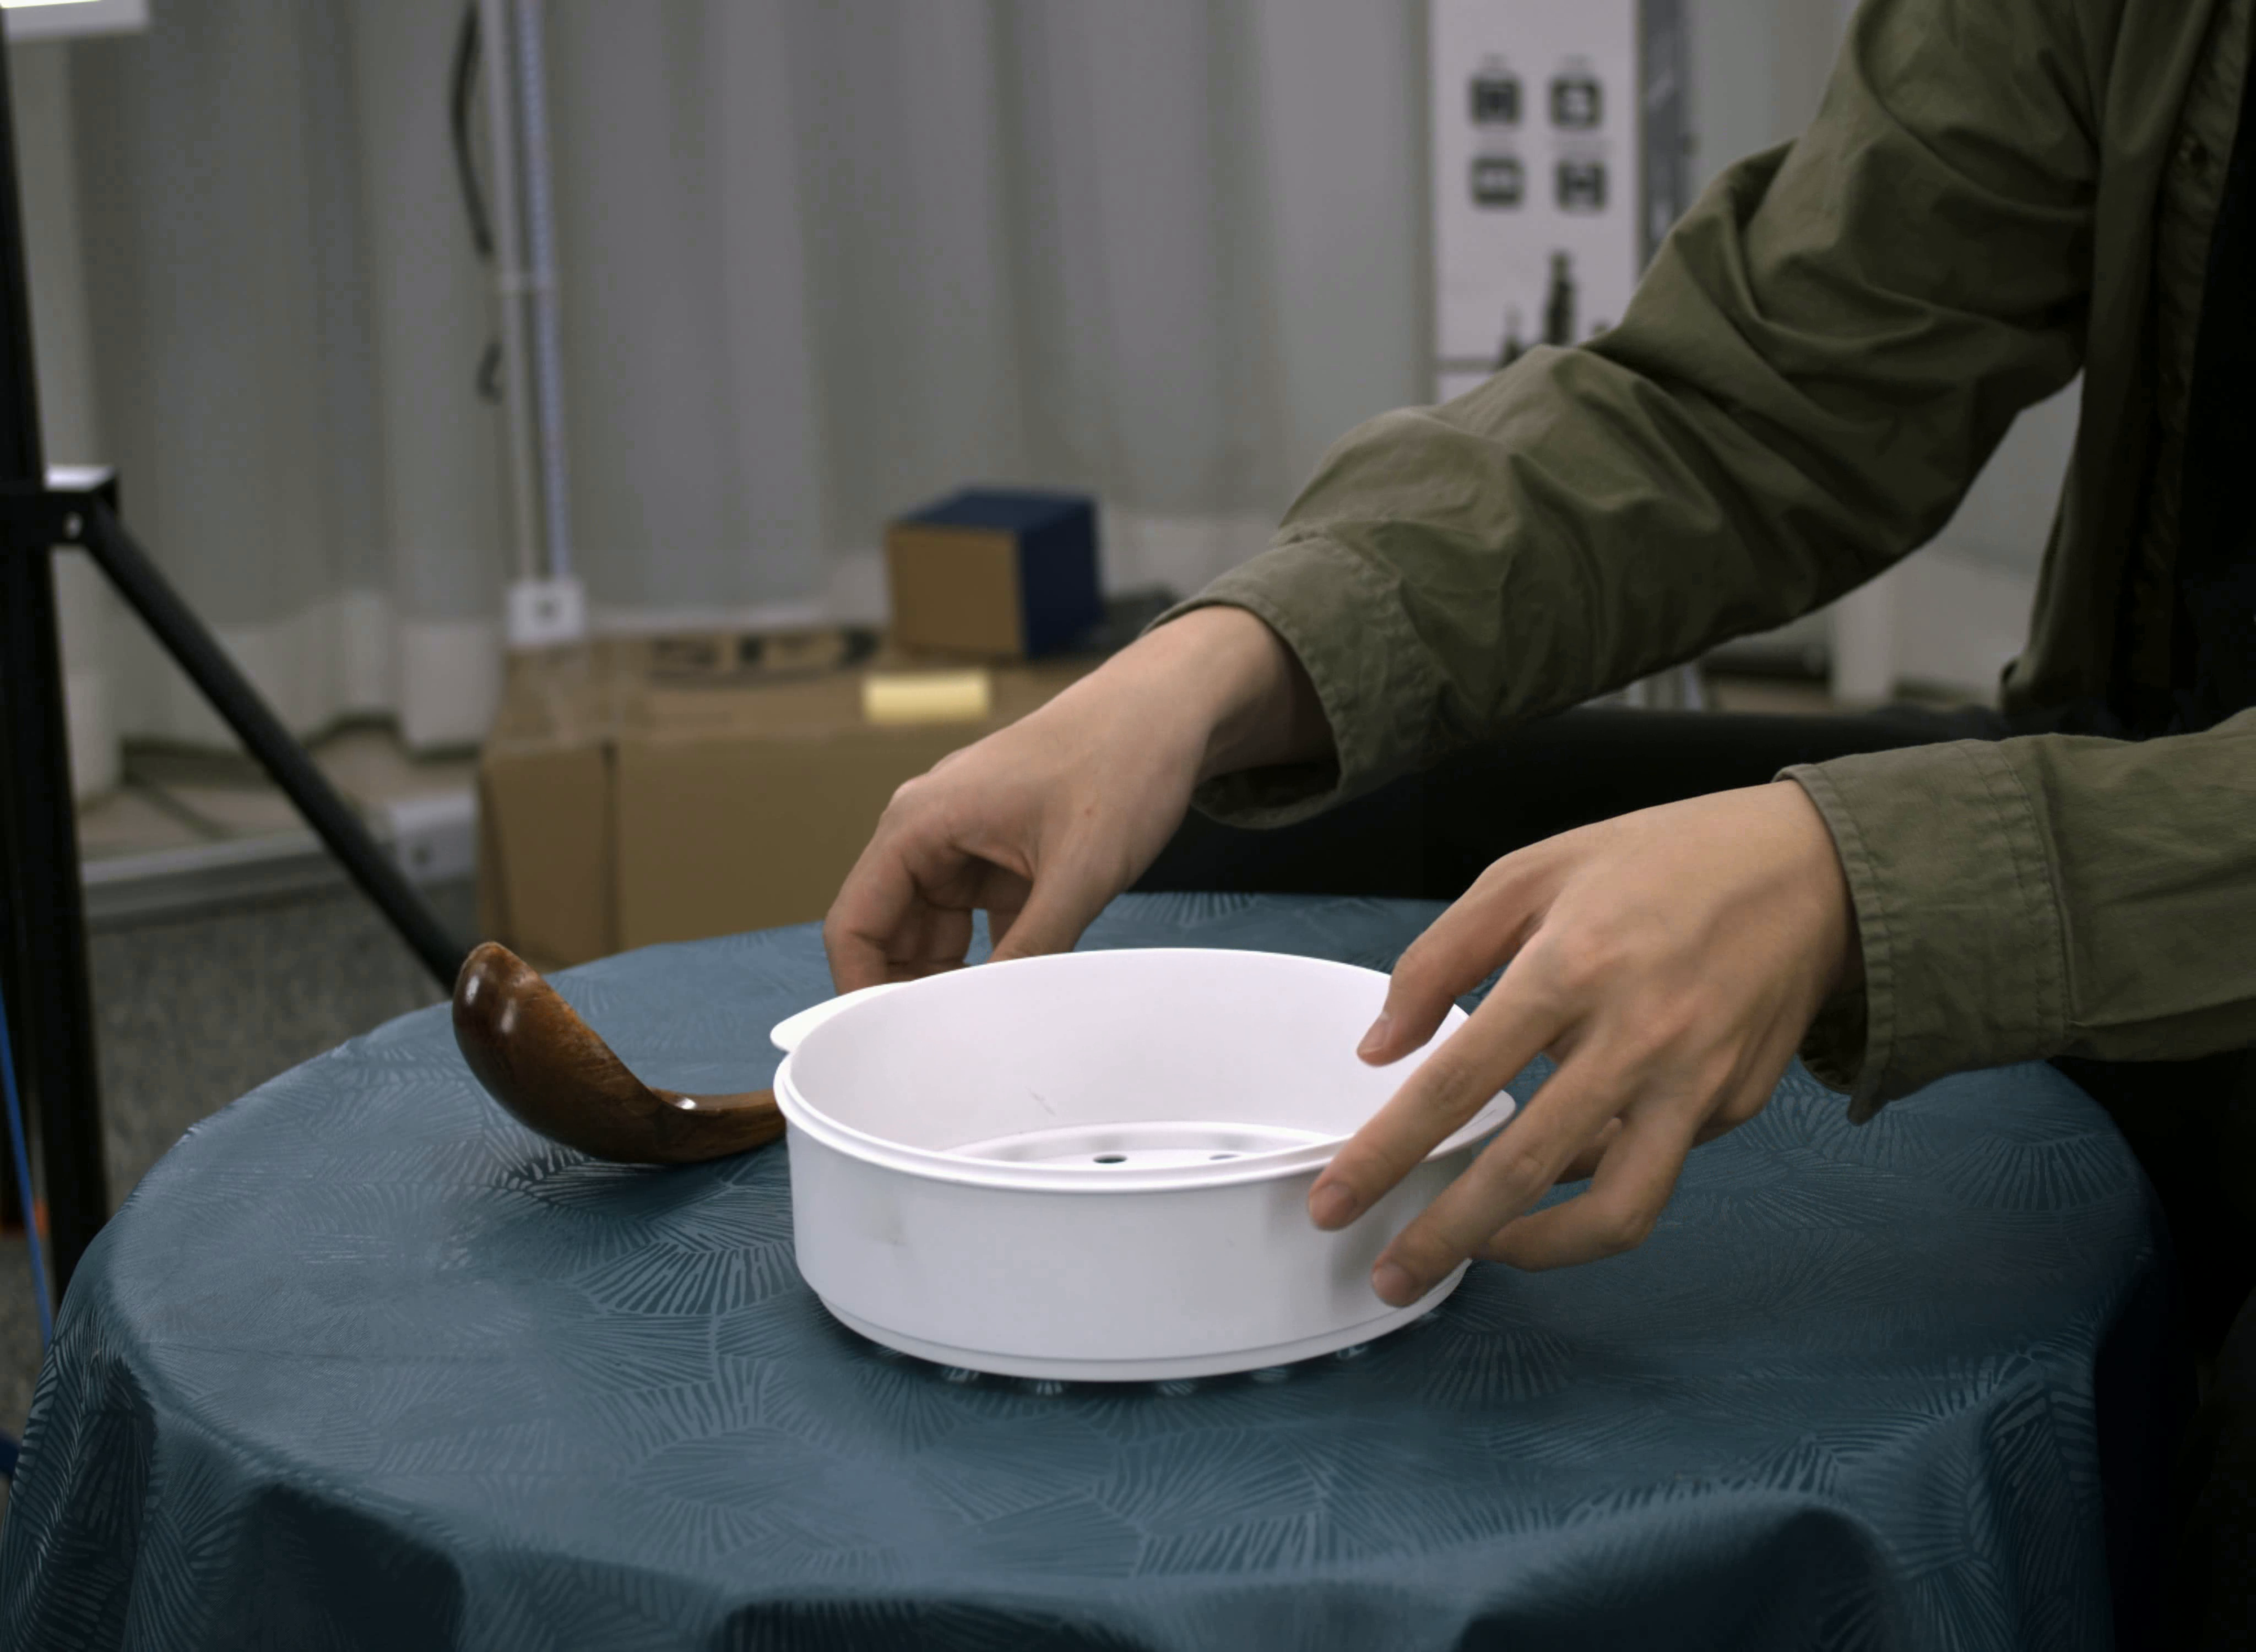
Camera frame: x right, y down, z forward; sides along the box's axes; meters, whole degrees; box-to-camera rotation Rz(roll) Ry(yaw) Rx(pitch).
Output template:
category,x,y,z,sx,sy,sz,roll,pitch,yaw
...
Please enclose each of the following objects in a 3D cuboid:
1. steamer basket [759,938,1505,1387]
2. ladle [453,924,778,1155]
category,x,y,z,sx,sy,sz,roll,pitch,yaw
steamer basket,-0.001,0.094,1.490,0.235,0.069,0.198,11,21,36
ladle,-0.074,0.051,1.635,0.269,0.076,0.083,-8,14,-22
